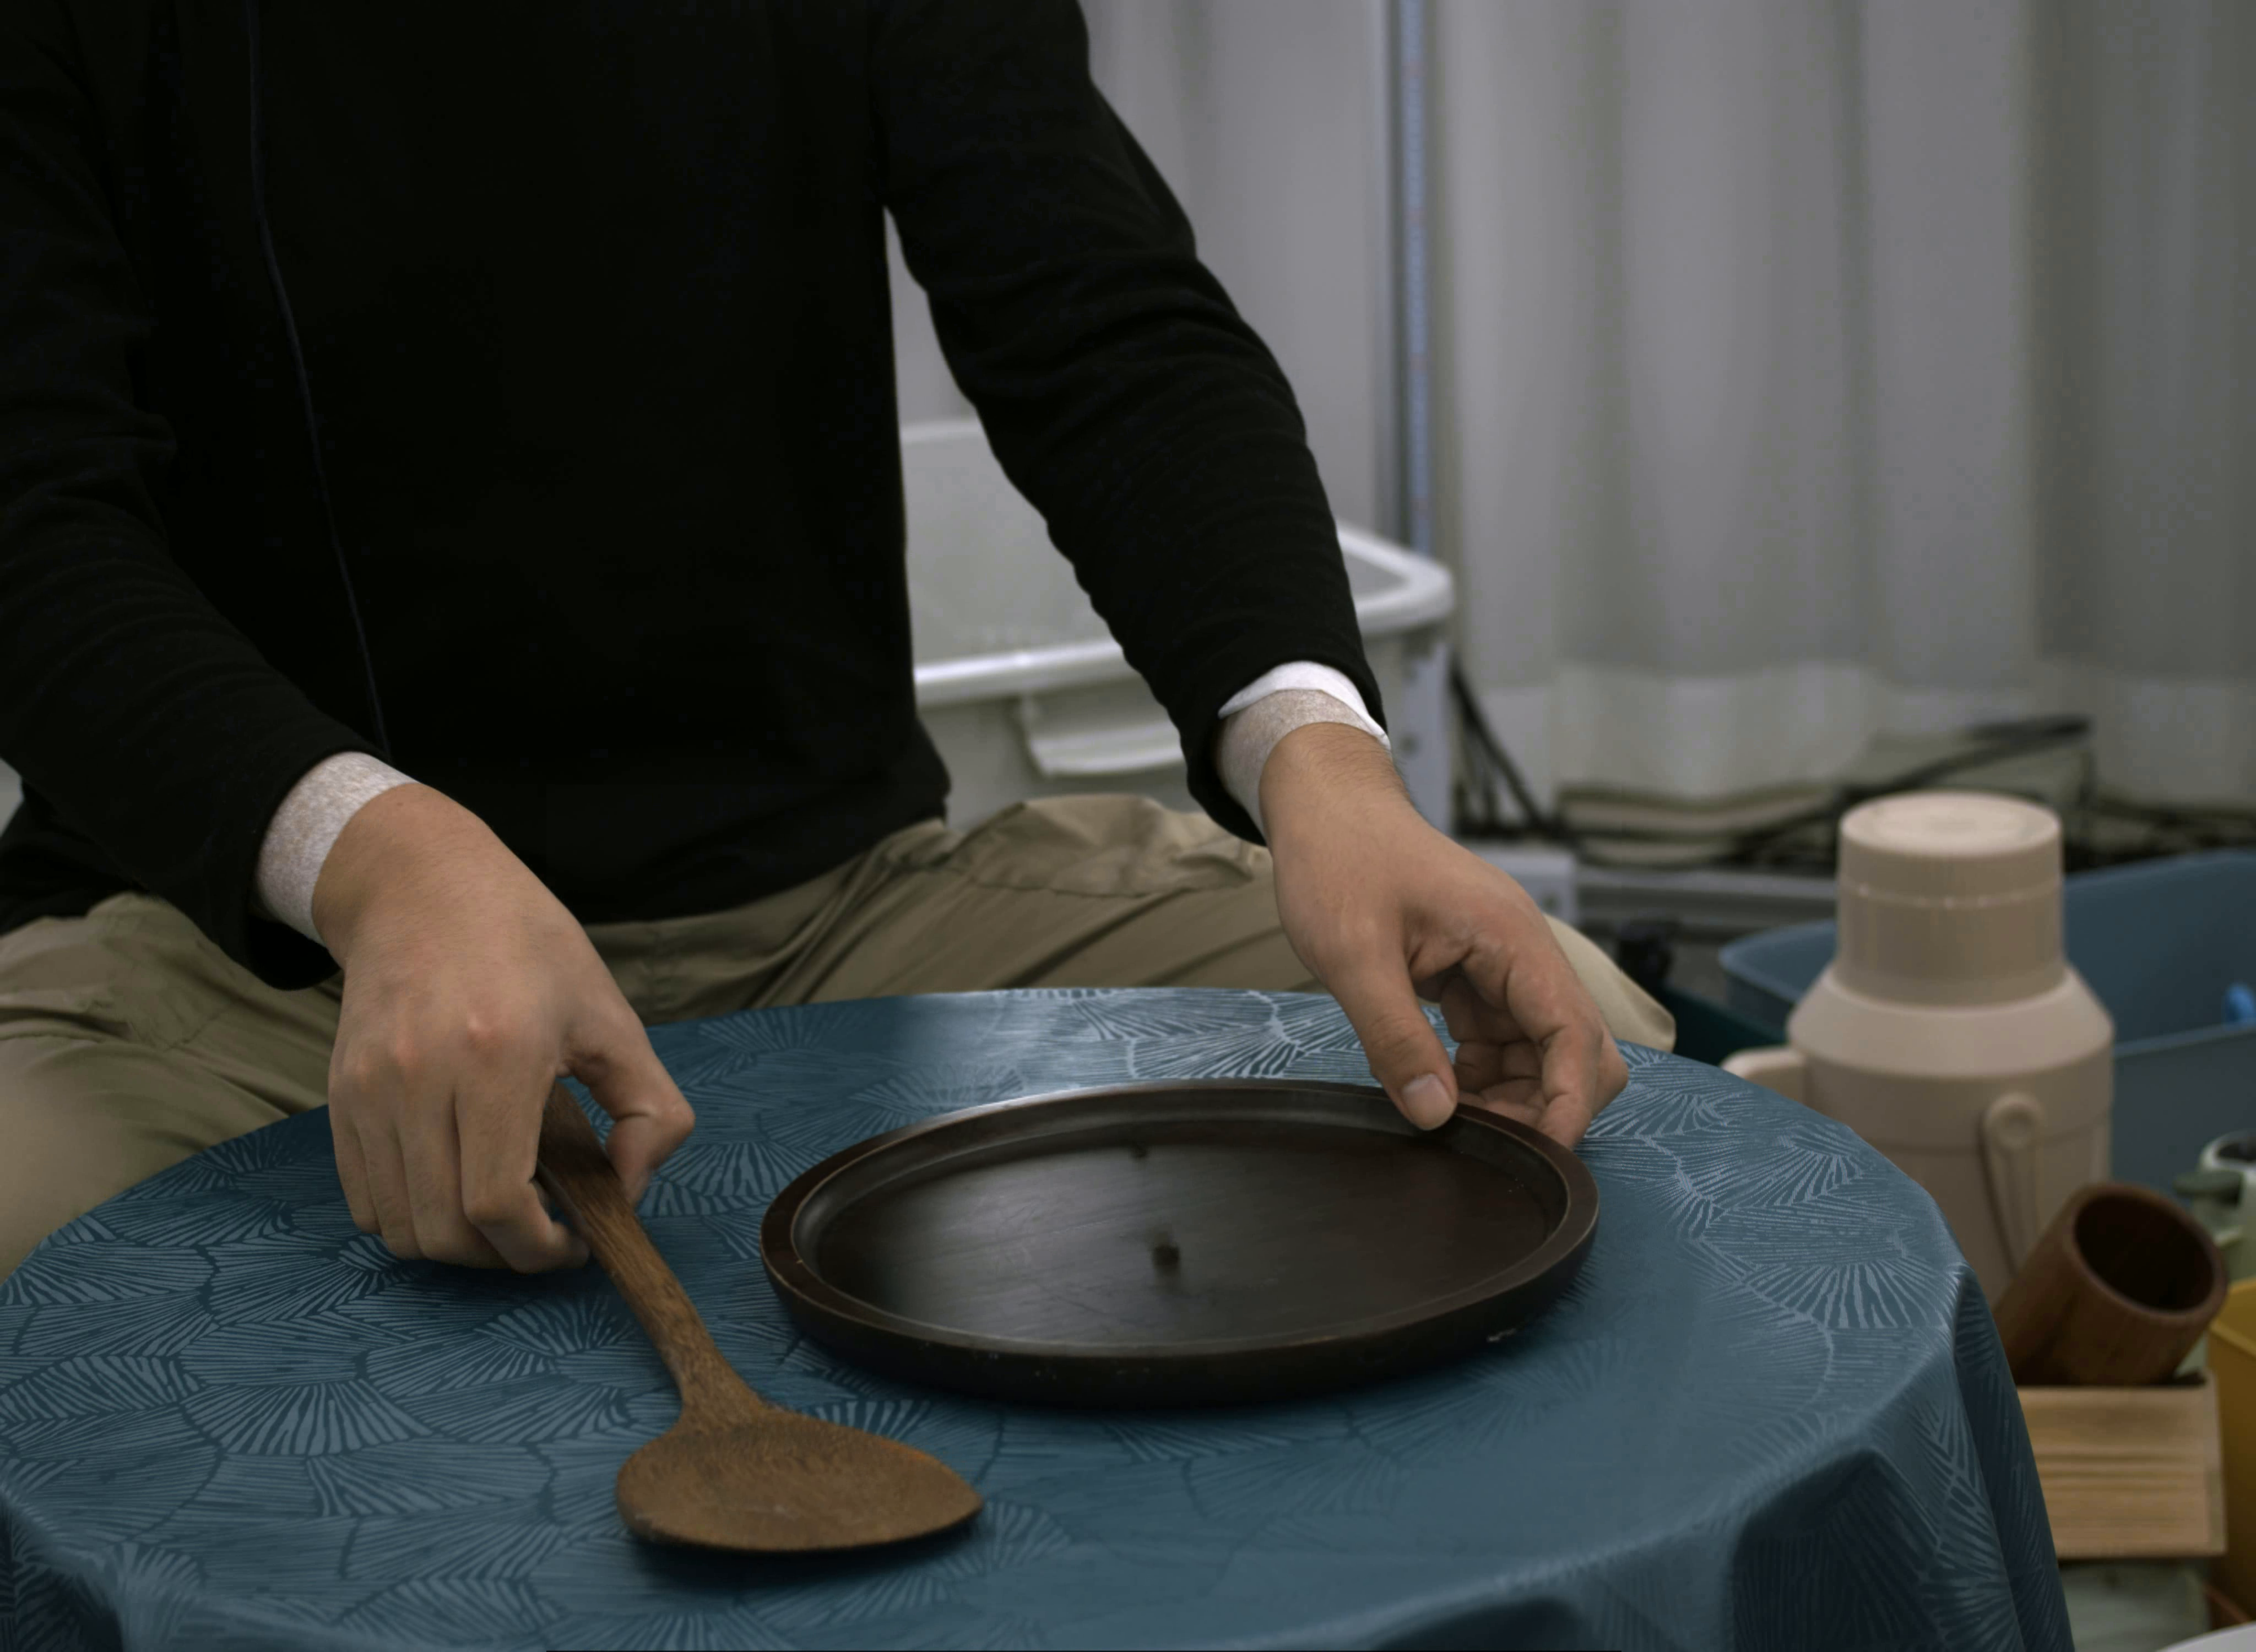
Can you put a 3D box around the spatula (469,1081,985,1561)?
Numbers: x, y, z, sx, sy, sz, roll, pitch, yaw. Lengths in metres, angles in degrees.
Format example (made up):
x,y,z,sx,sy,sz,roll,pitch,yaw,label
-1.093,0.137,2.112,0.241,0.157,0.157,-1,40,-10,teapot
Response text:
x,y,z,sx,sy,sz,roll,pitch,yaw,label
-0.139,0.137,1.593,0.095,0.016,0.389,-2,17,-19,spatula

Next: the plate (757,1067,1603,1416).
x,y,z,sx,sy,sz,roll,pitch,yaw,label
0.015,0.123,1.632,0.254,0.029,0.256,-4,16,1,plate
